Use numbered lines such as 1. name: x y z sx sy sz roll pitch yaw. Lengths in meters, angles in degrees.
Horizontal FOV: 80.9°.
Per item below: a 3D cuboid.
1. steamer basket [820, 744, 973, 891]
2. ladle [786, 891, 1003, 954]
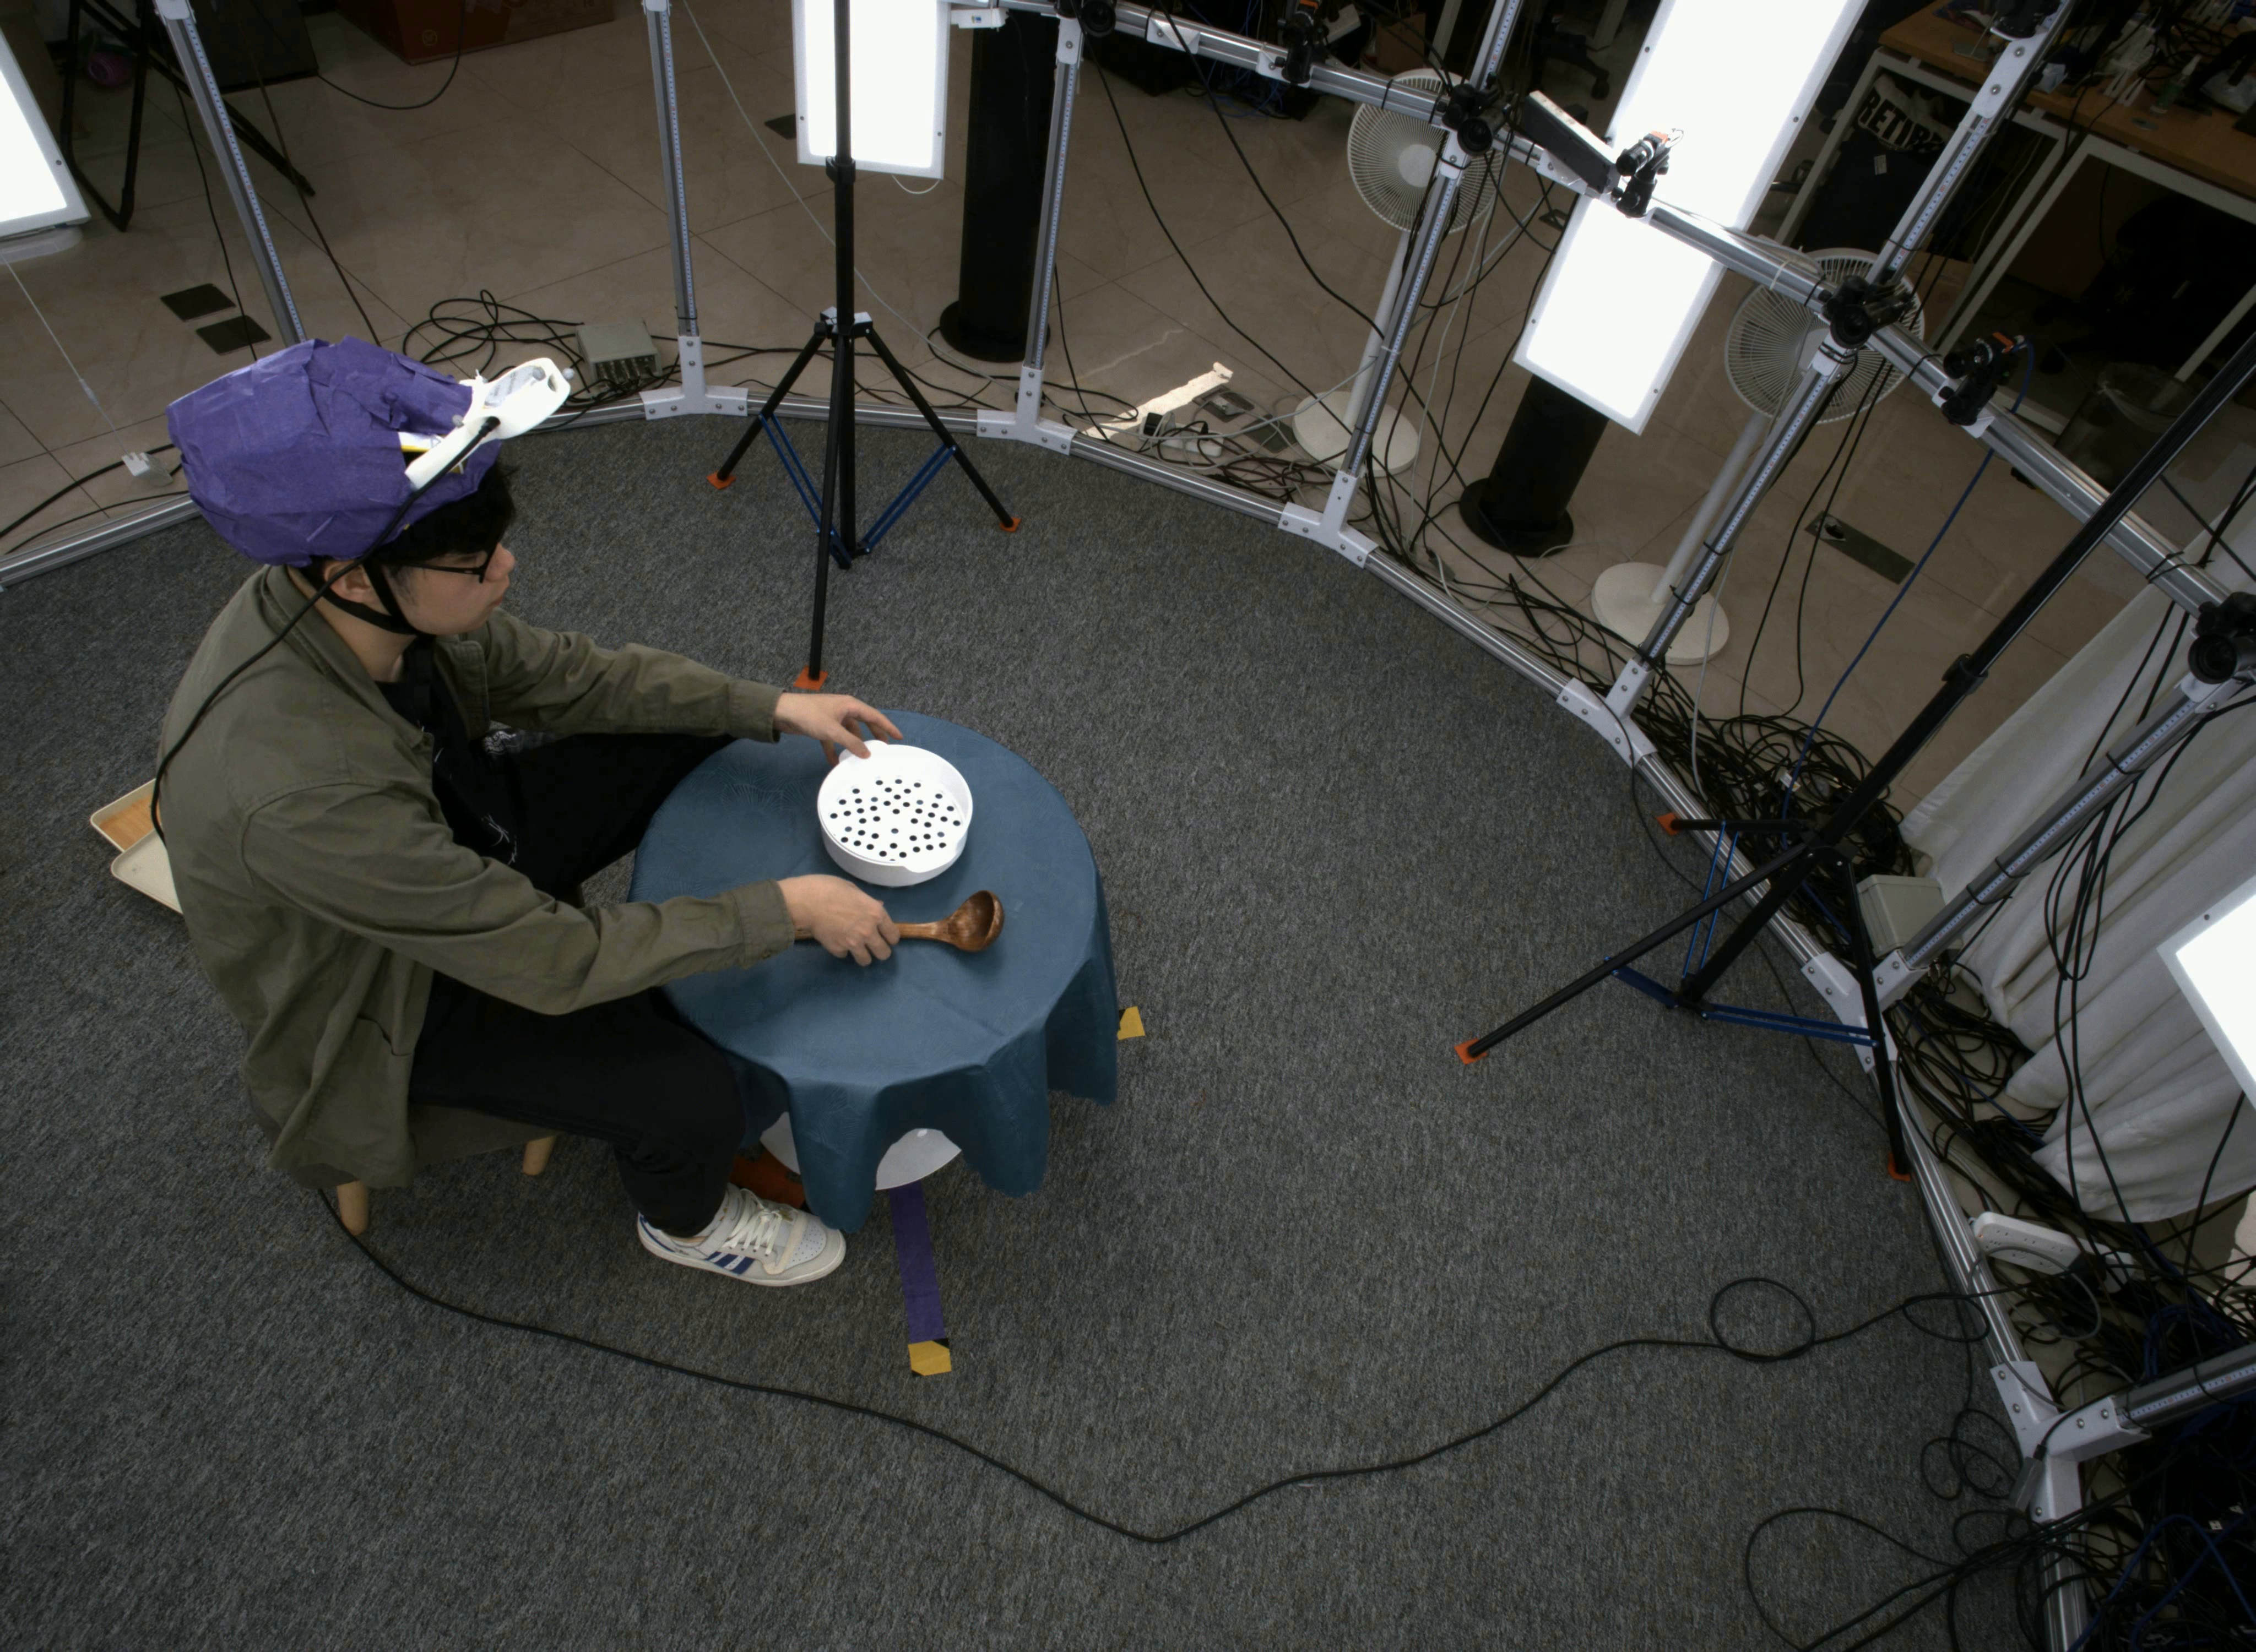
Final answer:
1. steamer basket: -0.307 -0.008 1.732 0.203 0.071 0.224 -22 61 -27
2. ladle: -0.293 0.119 1.635 0.274 0.078 0.080 2 55 -11
